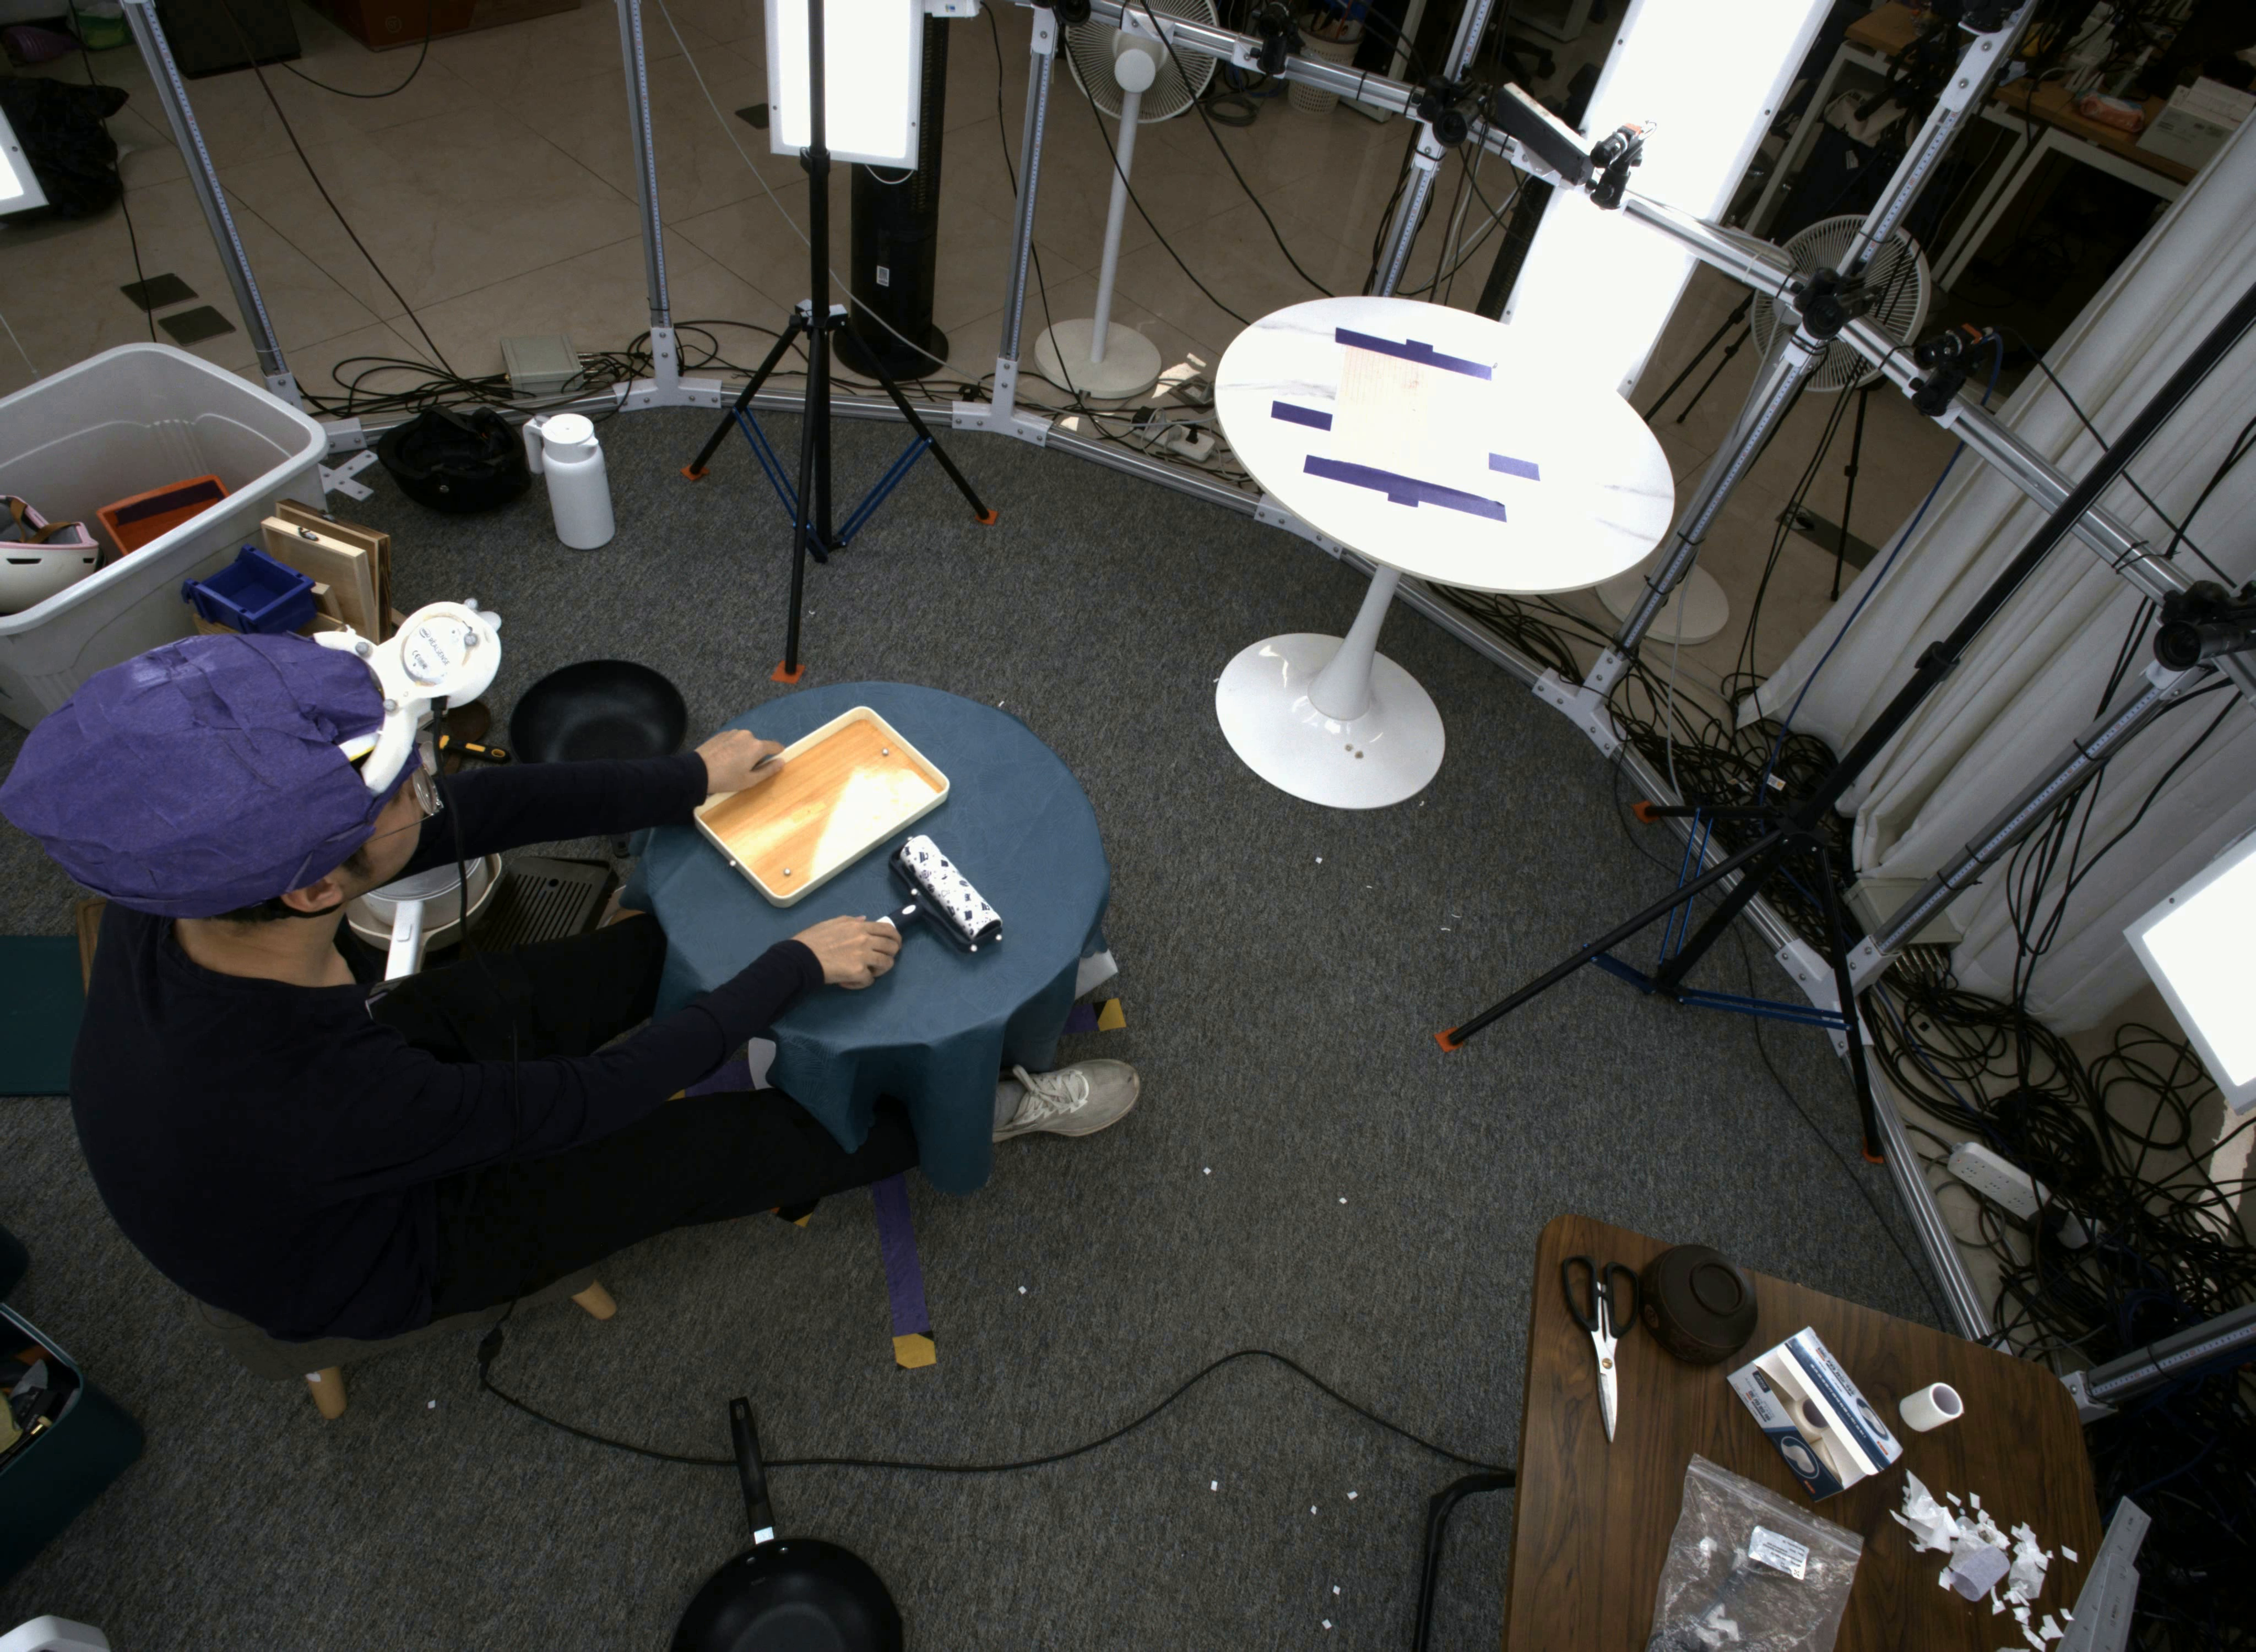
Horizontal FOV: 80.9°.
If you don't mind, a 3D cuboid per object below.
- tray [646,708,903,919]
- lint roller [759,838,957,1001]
[{"bbox_3d":[-0.466,-0.024,1.719,0.189,0.028,0.300,42,55,11],"label":"tray"},{"bbox_3d":[-0.357,0.134,1.627,0.172,0.051,0.247,43,58,17],"label":"lint roller"}]
